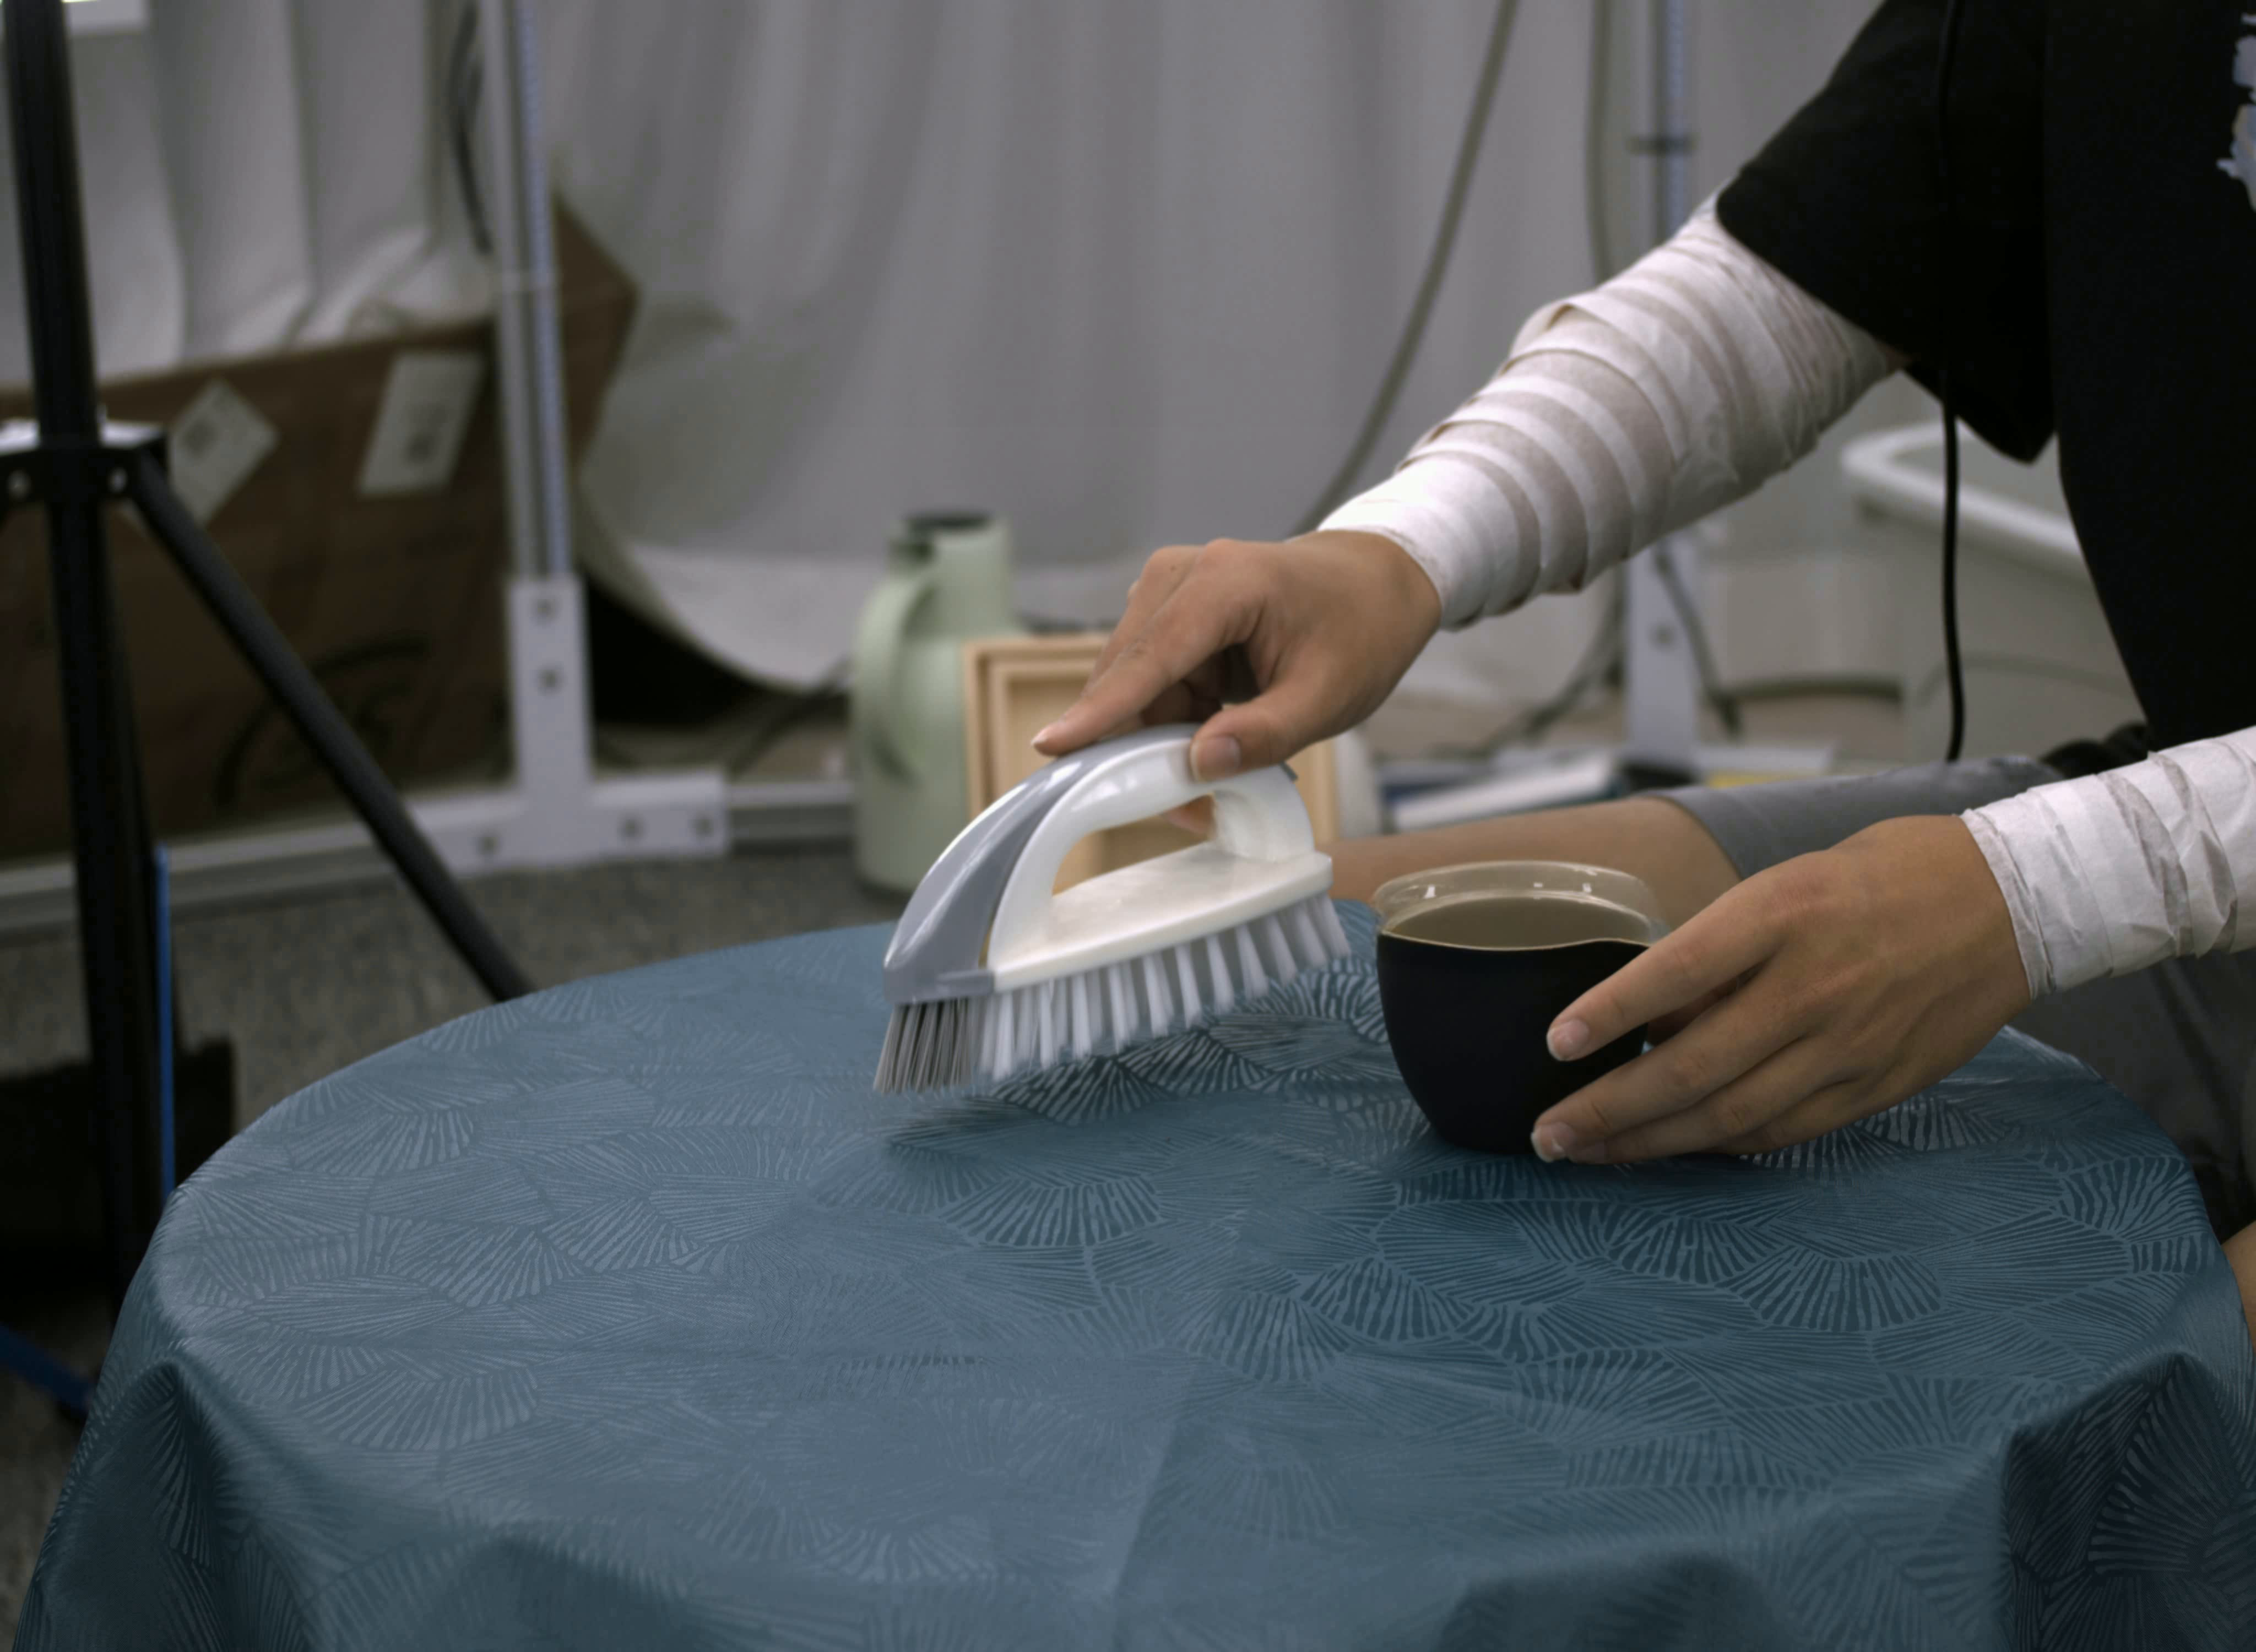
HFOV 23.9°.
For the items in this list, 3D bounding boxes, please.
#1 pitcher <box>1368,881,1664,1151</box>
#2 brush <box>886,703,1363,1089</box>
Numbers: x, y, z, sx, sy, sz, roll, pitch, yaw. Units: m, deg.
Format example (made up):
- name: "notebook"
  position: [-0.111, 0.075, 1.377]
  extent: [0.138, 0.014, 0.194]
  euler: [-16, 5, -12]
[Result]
- name: "pitcher"
  position: [0.118, 0.057, 1.588]
  extent: [0.098, 0.071, 0.082]
  euler: [15, 21, 39]
- name: "brush"
  position: [-0.010, 0.018, 1.650]
  extent: [0.172, 0.094, 0.063]
  euler: [-20, 15, -35]
